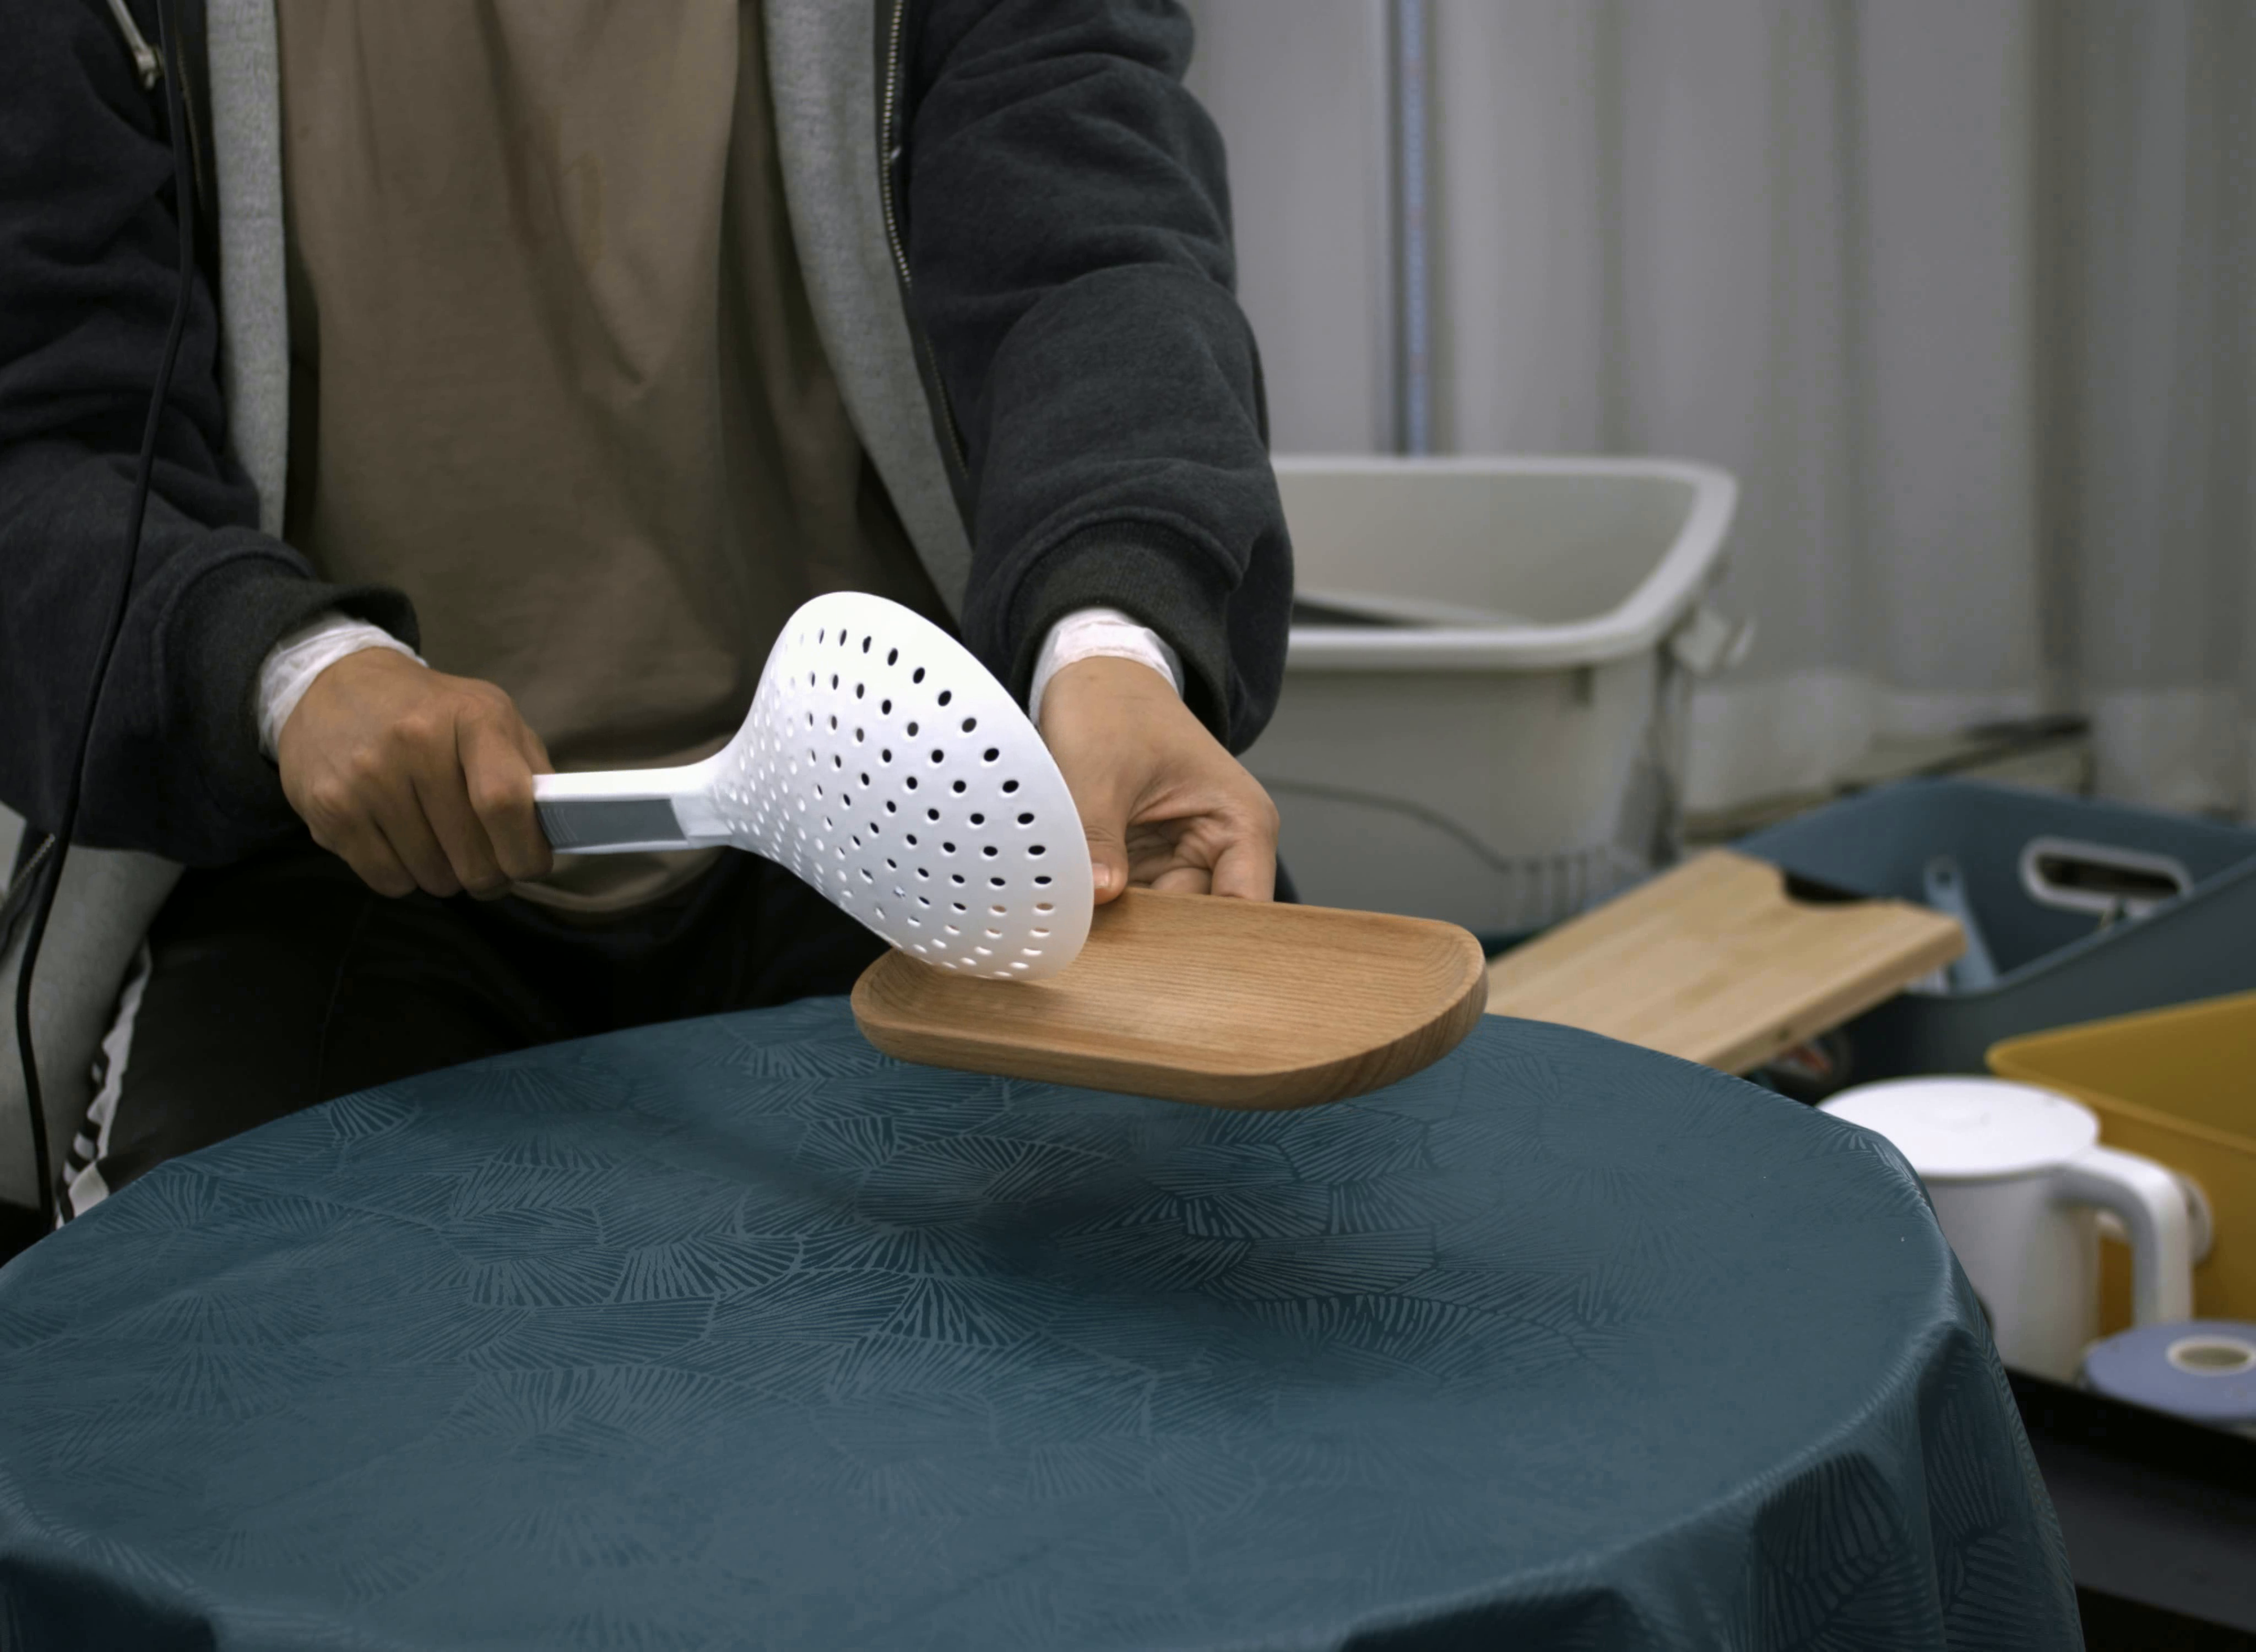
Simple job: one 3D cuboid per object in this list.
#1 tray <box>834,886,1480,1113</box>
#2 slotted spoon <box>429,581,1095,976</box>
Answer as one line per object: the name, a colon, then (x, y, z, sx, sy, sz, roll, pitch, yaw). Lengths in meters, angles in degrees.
tray: (0.007, 0.052, 1.646, 0.232, 0.020, 0.102, 4, 27, 44)
slotted spoon: (-0.129, -0.008, 1.751, 0.046, 0.135, 0.351, -32, 17, -28)
